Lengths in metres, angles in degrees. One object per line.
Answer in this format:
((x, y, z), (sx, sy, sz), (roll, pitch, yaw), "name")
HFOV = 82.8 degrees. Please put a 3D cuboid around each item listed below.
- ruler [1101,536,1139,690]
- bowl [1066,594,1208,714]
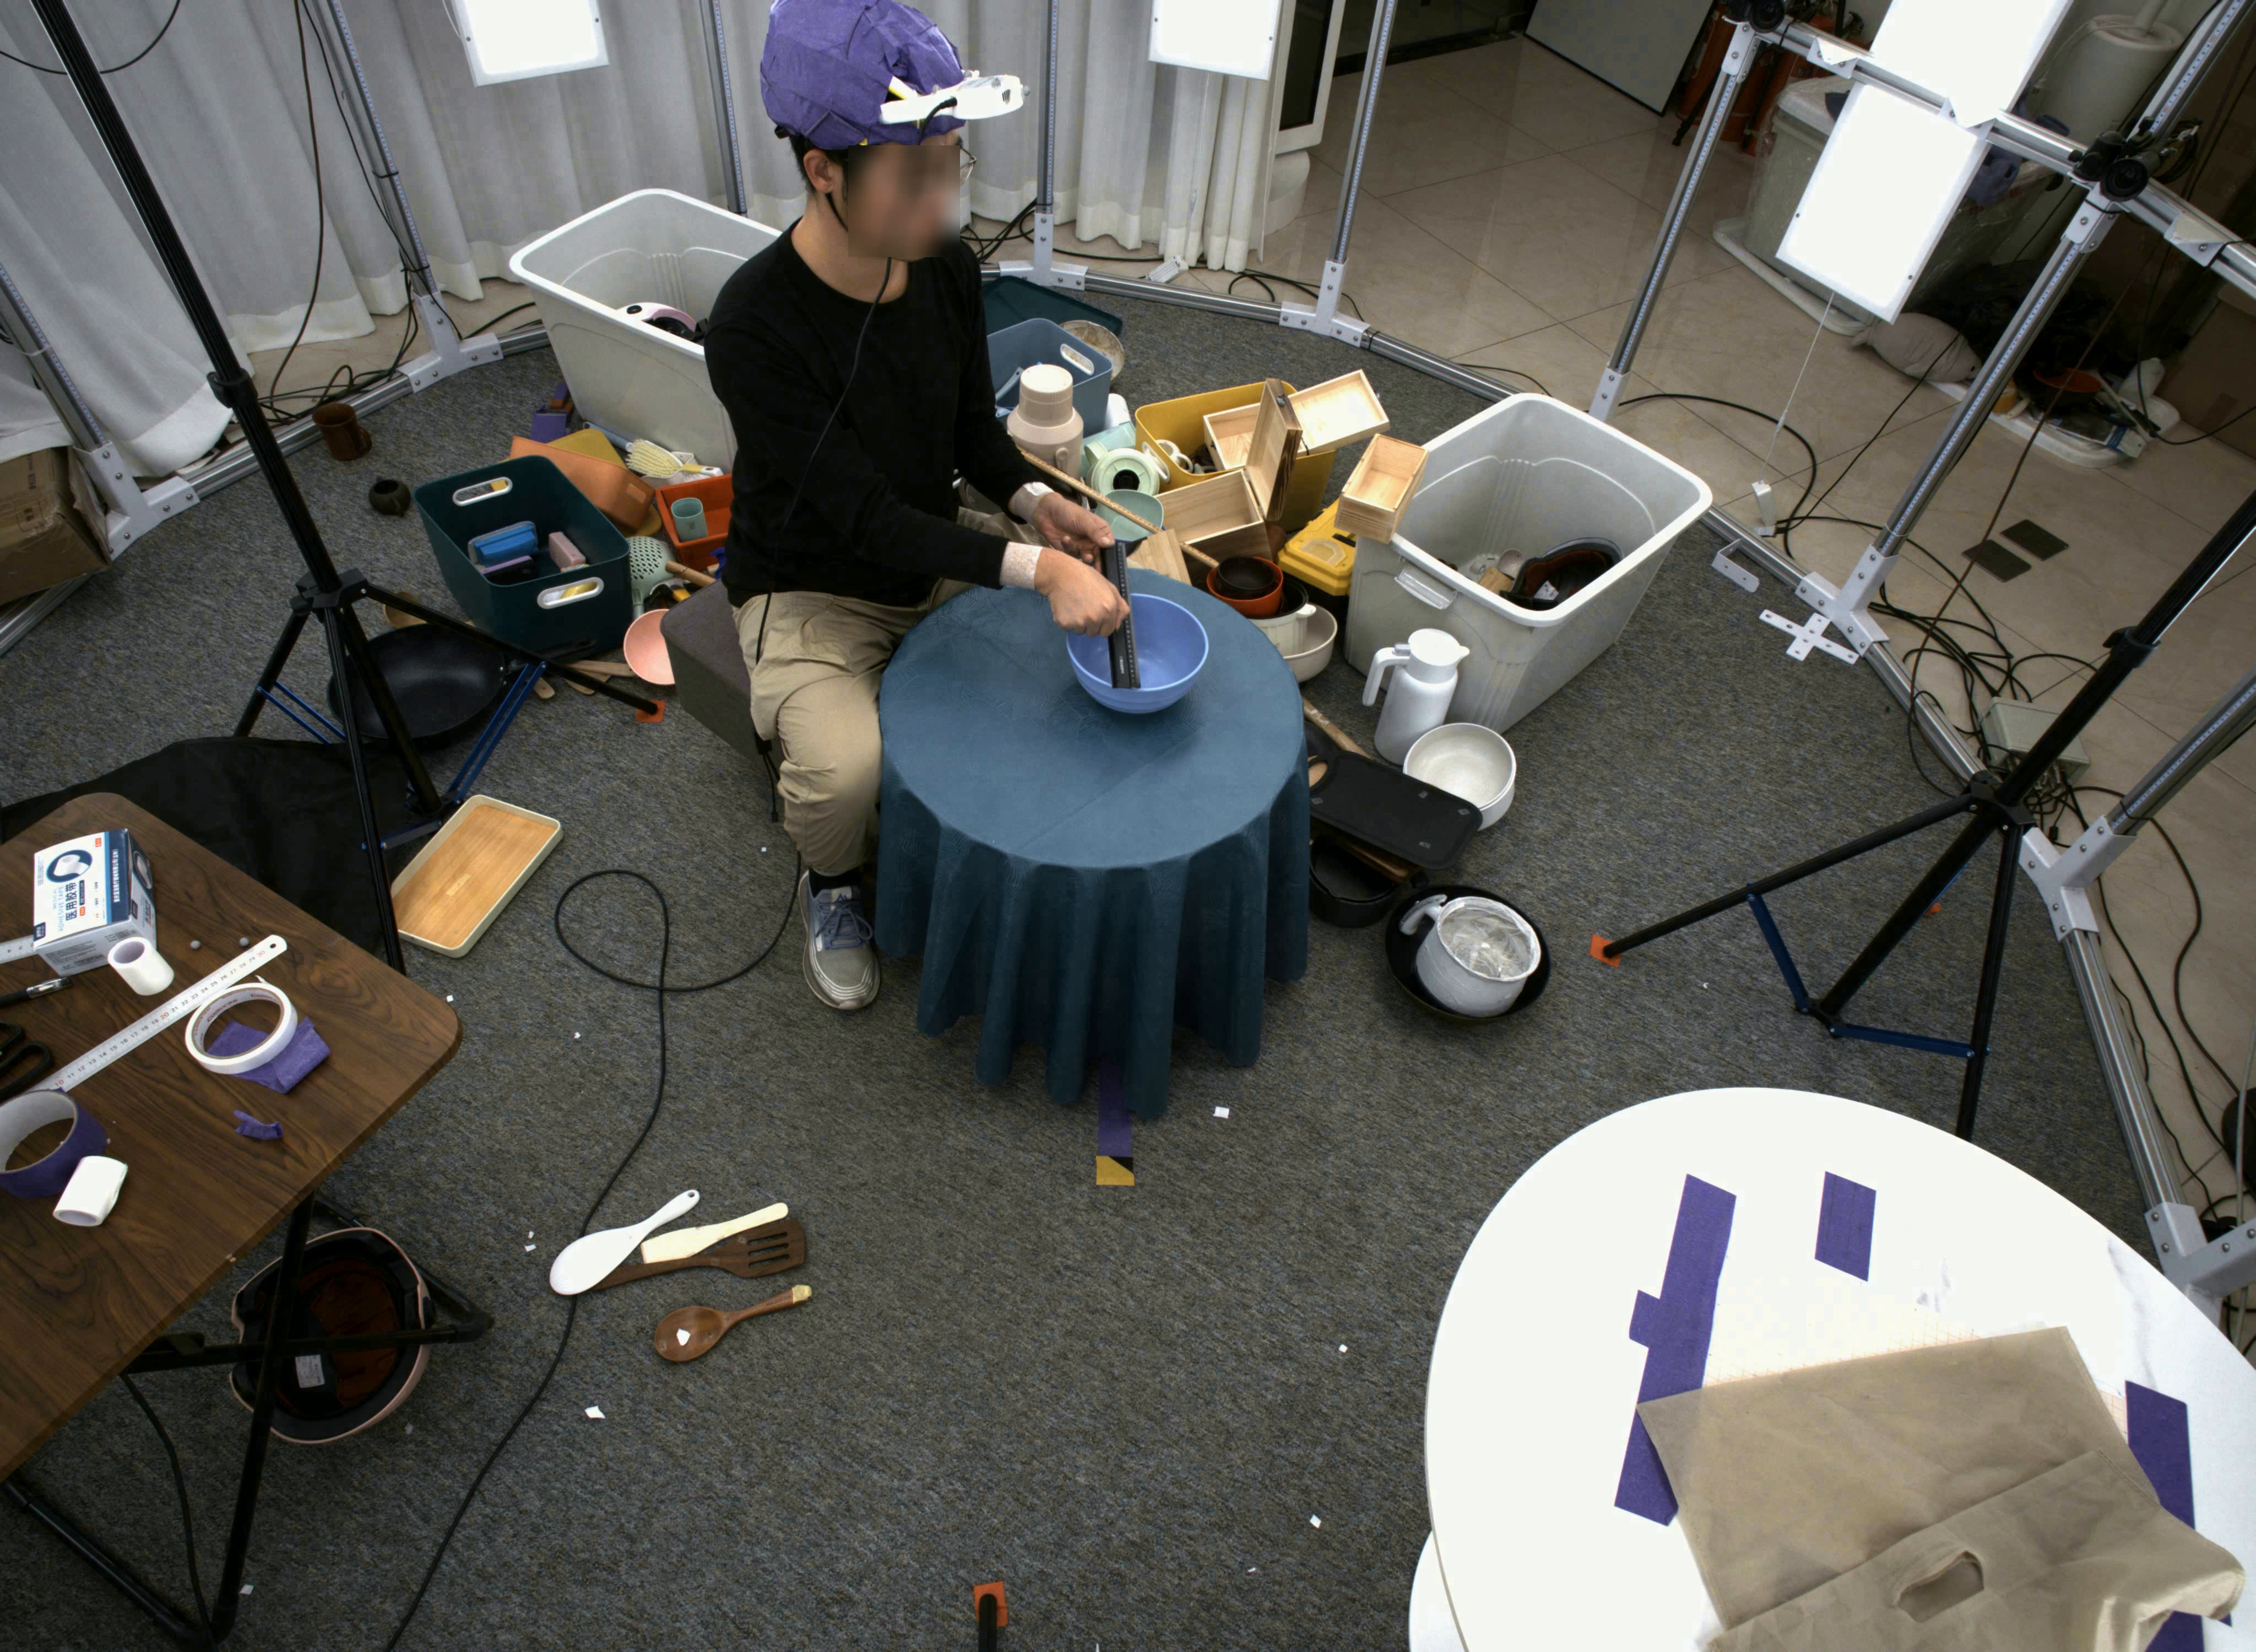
((-0.011, -0.303, 1.794), (0.039, 0.017, 0.320), (3, 48, -8), "ruler")
((0.010, -0.227, 1.806), (0.196, 0.093, 0.201), (2, 49, -3), "bowl")
